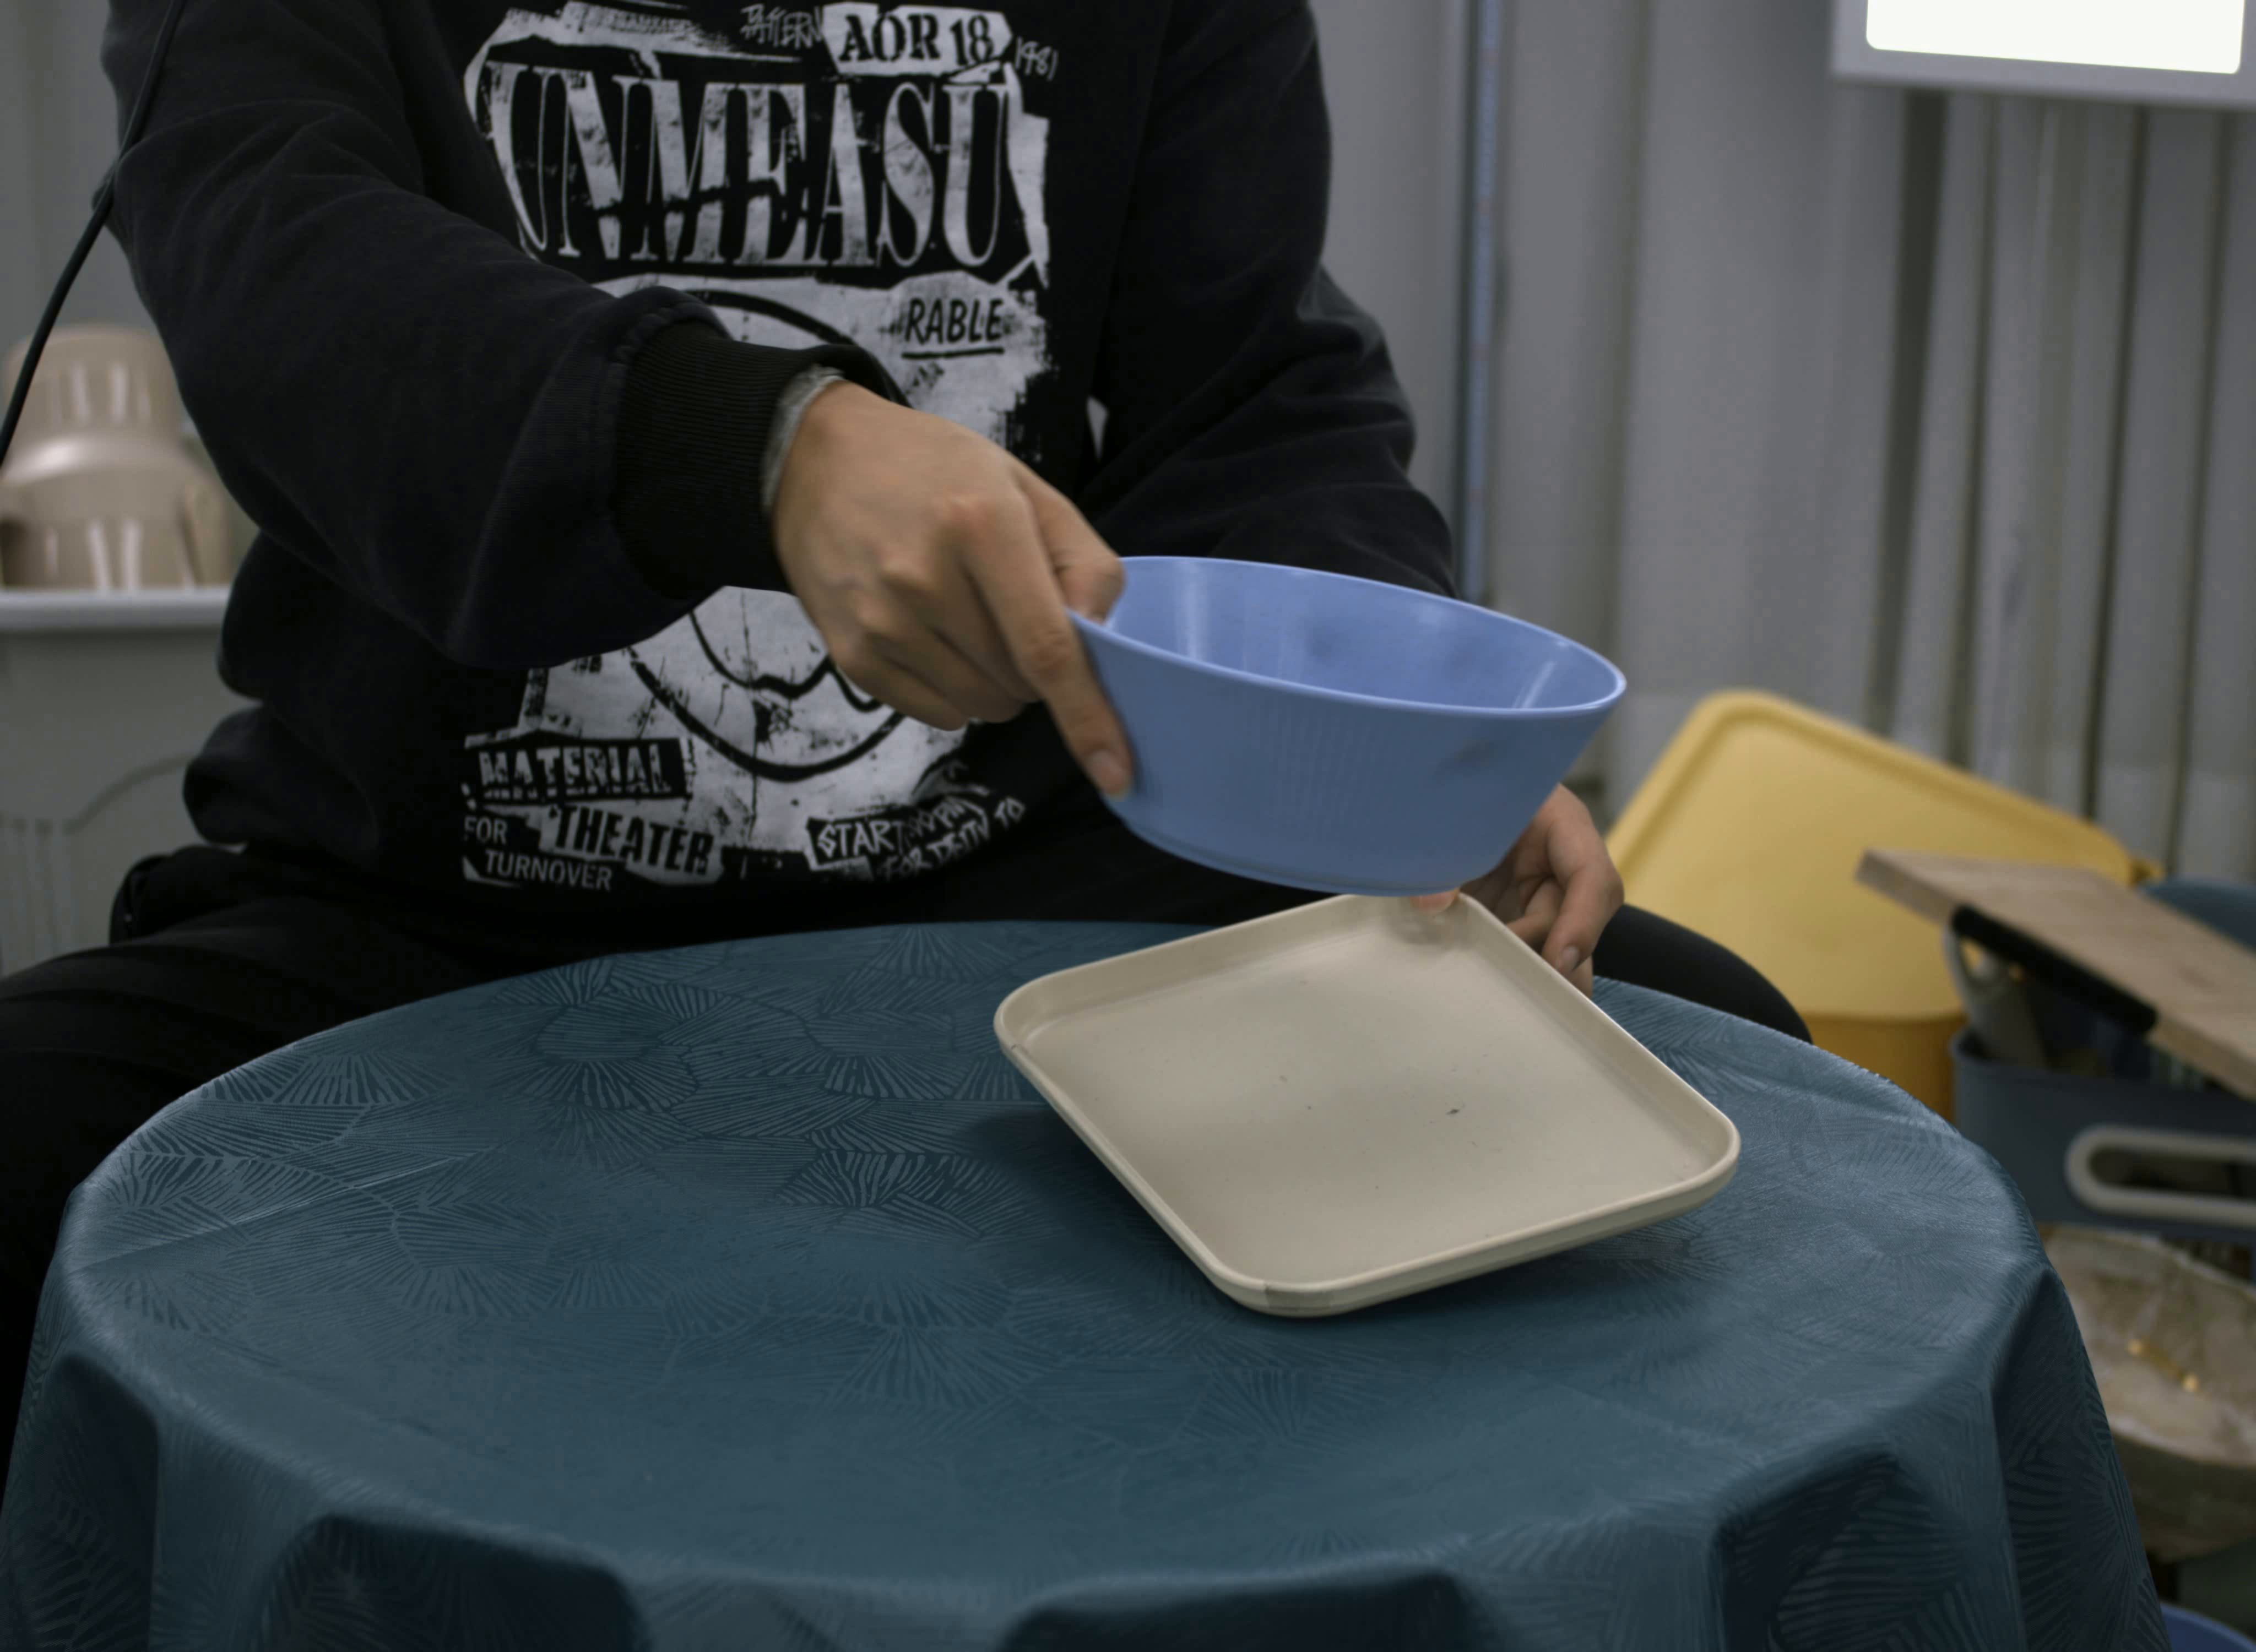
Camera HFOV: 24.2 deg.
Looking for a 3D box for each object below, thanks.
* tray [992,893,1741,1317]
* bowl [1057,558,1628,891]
[{"bbox_3d":[0.070,0.084,1.629,0.171,0.017,0.236,-13,25,-18],"label":"tray"},{"bbox_3d":[0.059,-0.028,1.587,0.176,0.071,0.175,11,14,-2],"label":"bowl"}]
